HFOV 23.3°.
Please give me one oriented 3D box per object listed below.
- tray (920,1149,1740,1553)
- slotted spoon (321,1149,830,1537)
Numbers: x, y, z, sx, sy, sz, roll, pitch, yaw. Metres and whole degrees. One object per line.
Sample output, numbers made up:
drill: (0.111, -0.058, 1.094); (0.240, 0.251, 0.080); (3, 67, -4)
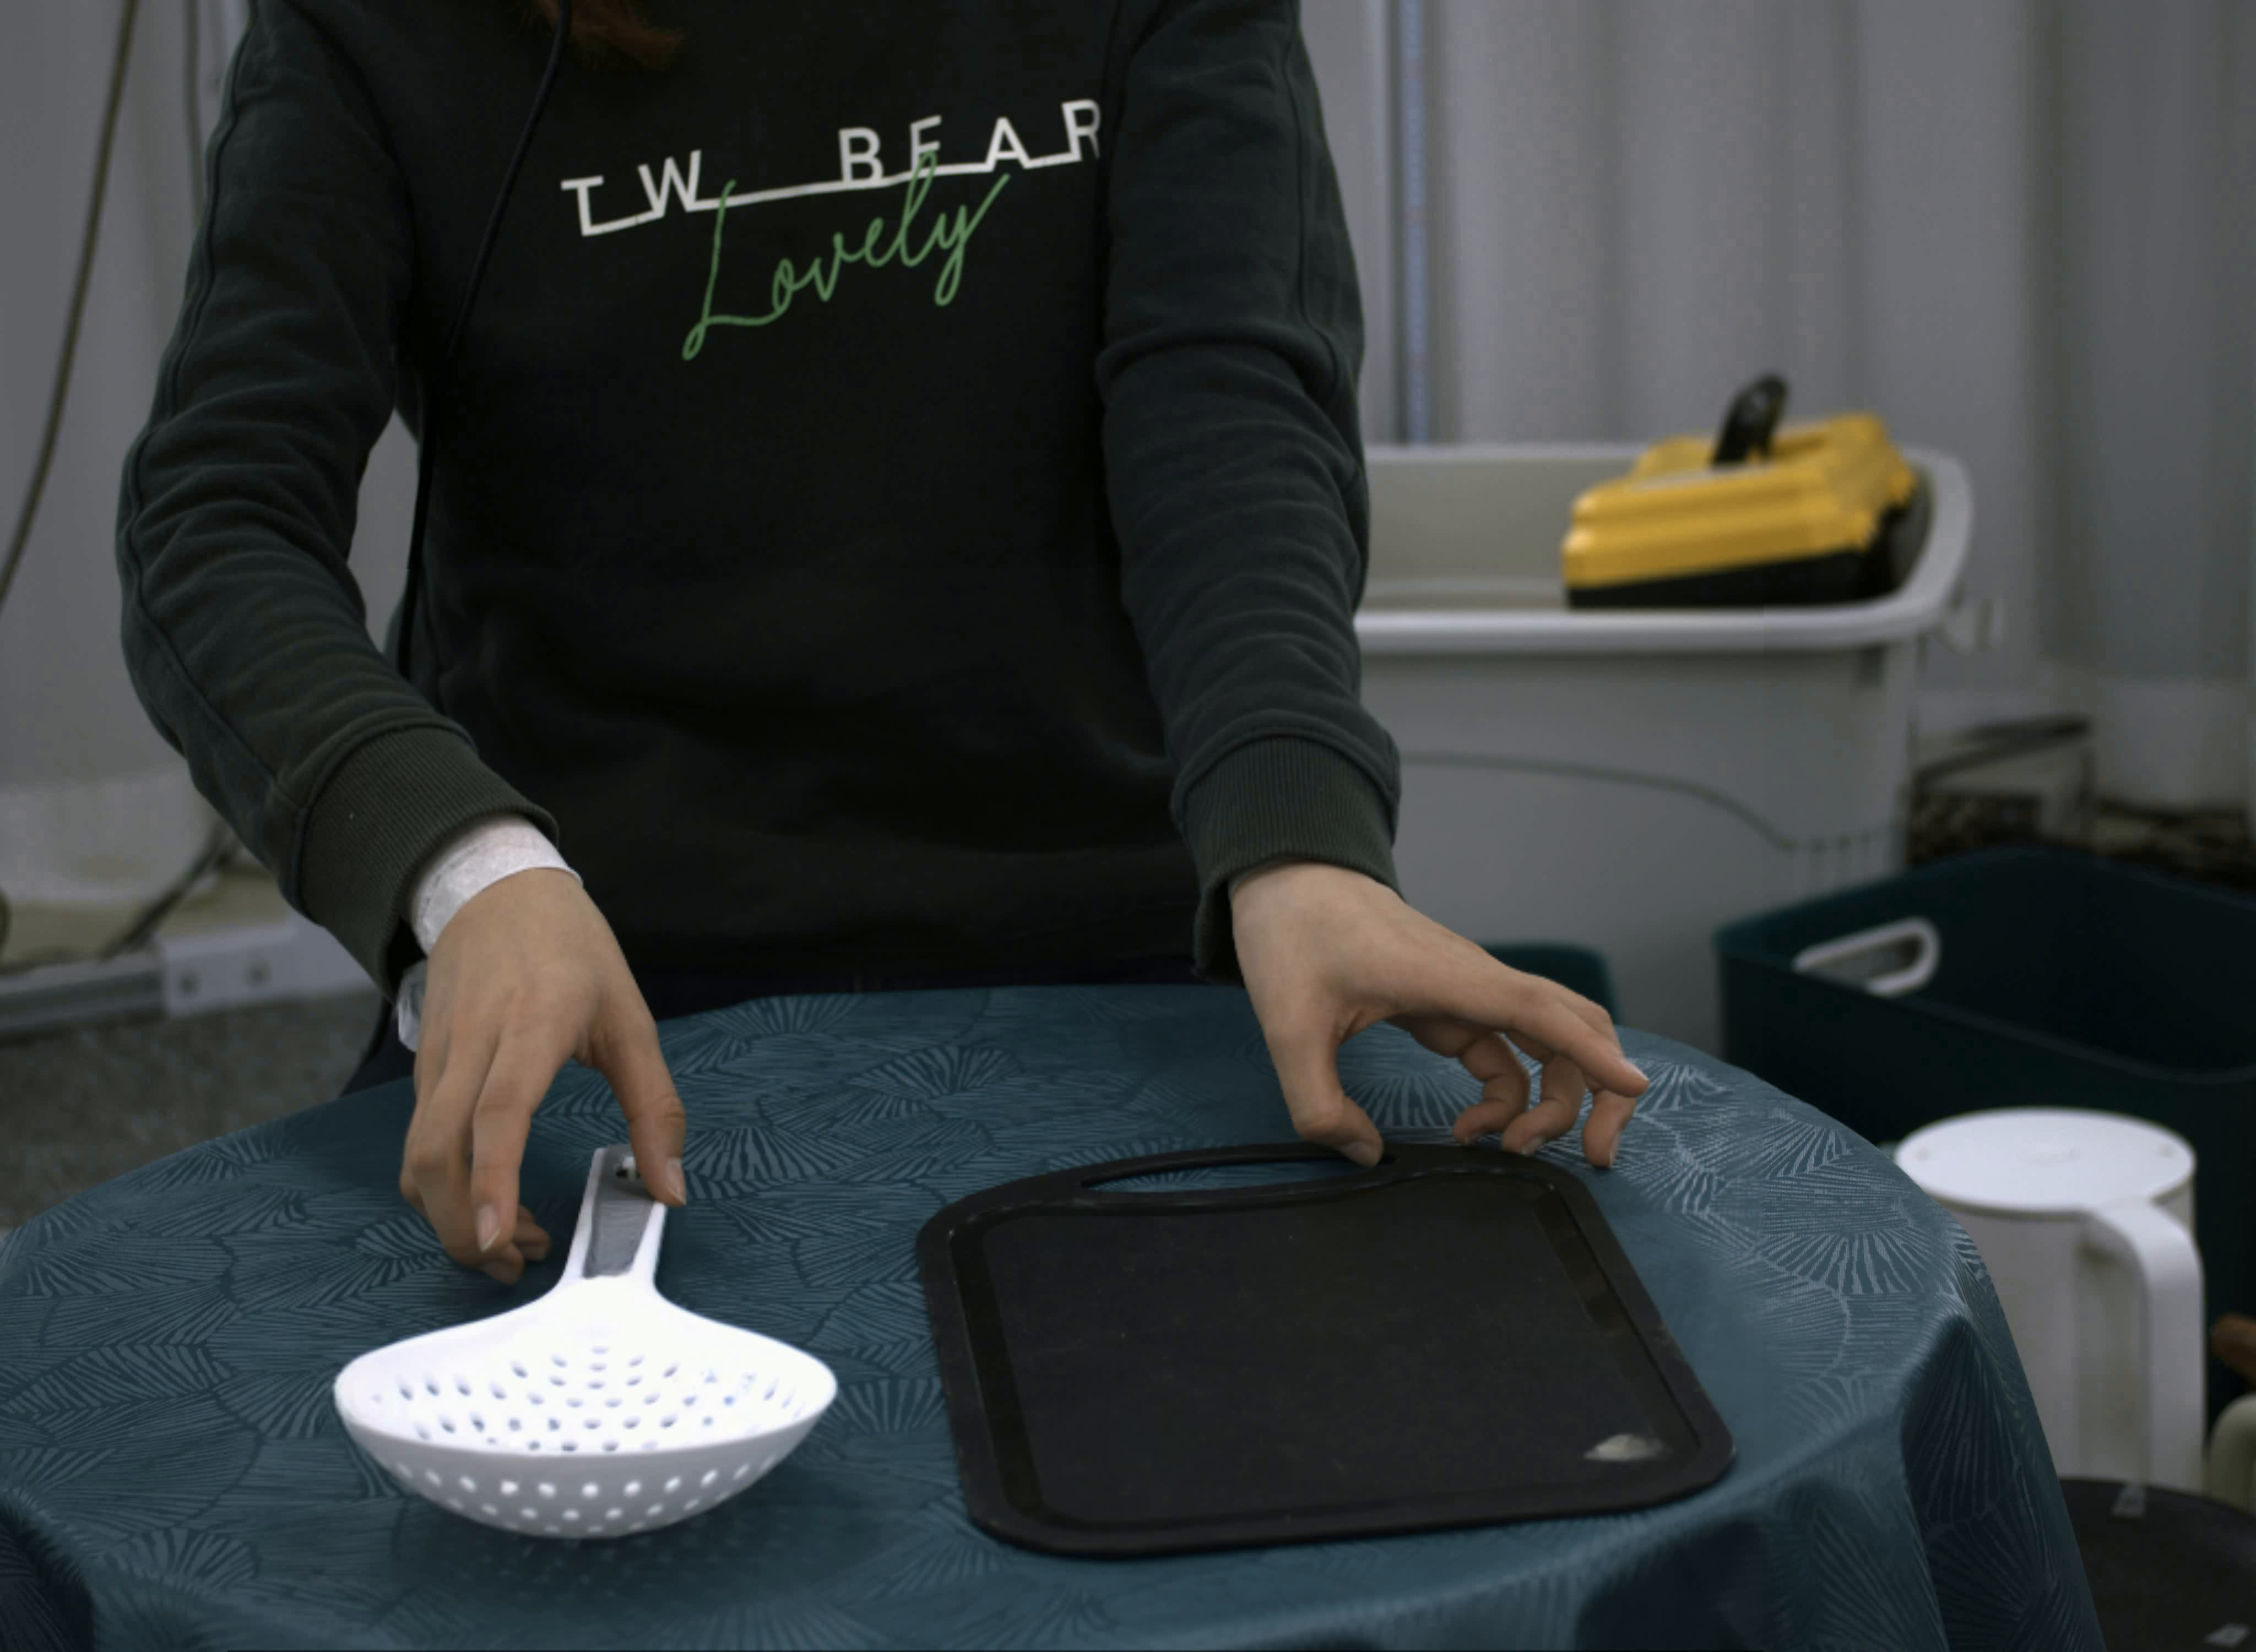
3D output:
tray: (0.049, 0.144, 1.582); (0.210, 0.010, 0.328); (-4, 15, -5)
slotted spoon: (-0.151, 0.138, 1.567); (0.135, 0.045, 0.352); (1, 14, -2)
